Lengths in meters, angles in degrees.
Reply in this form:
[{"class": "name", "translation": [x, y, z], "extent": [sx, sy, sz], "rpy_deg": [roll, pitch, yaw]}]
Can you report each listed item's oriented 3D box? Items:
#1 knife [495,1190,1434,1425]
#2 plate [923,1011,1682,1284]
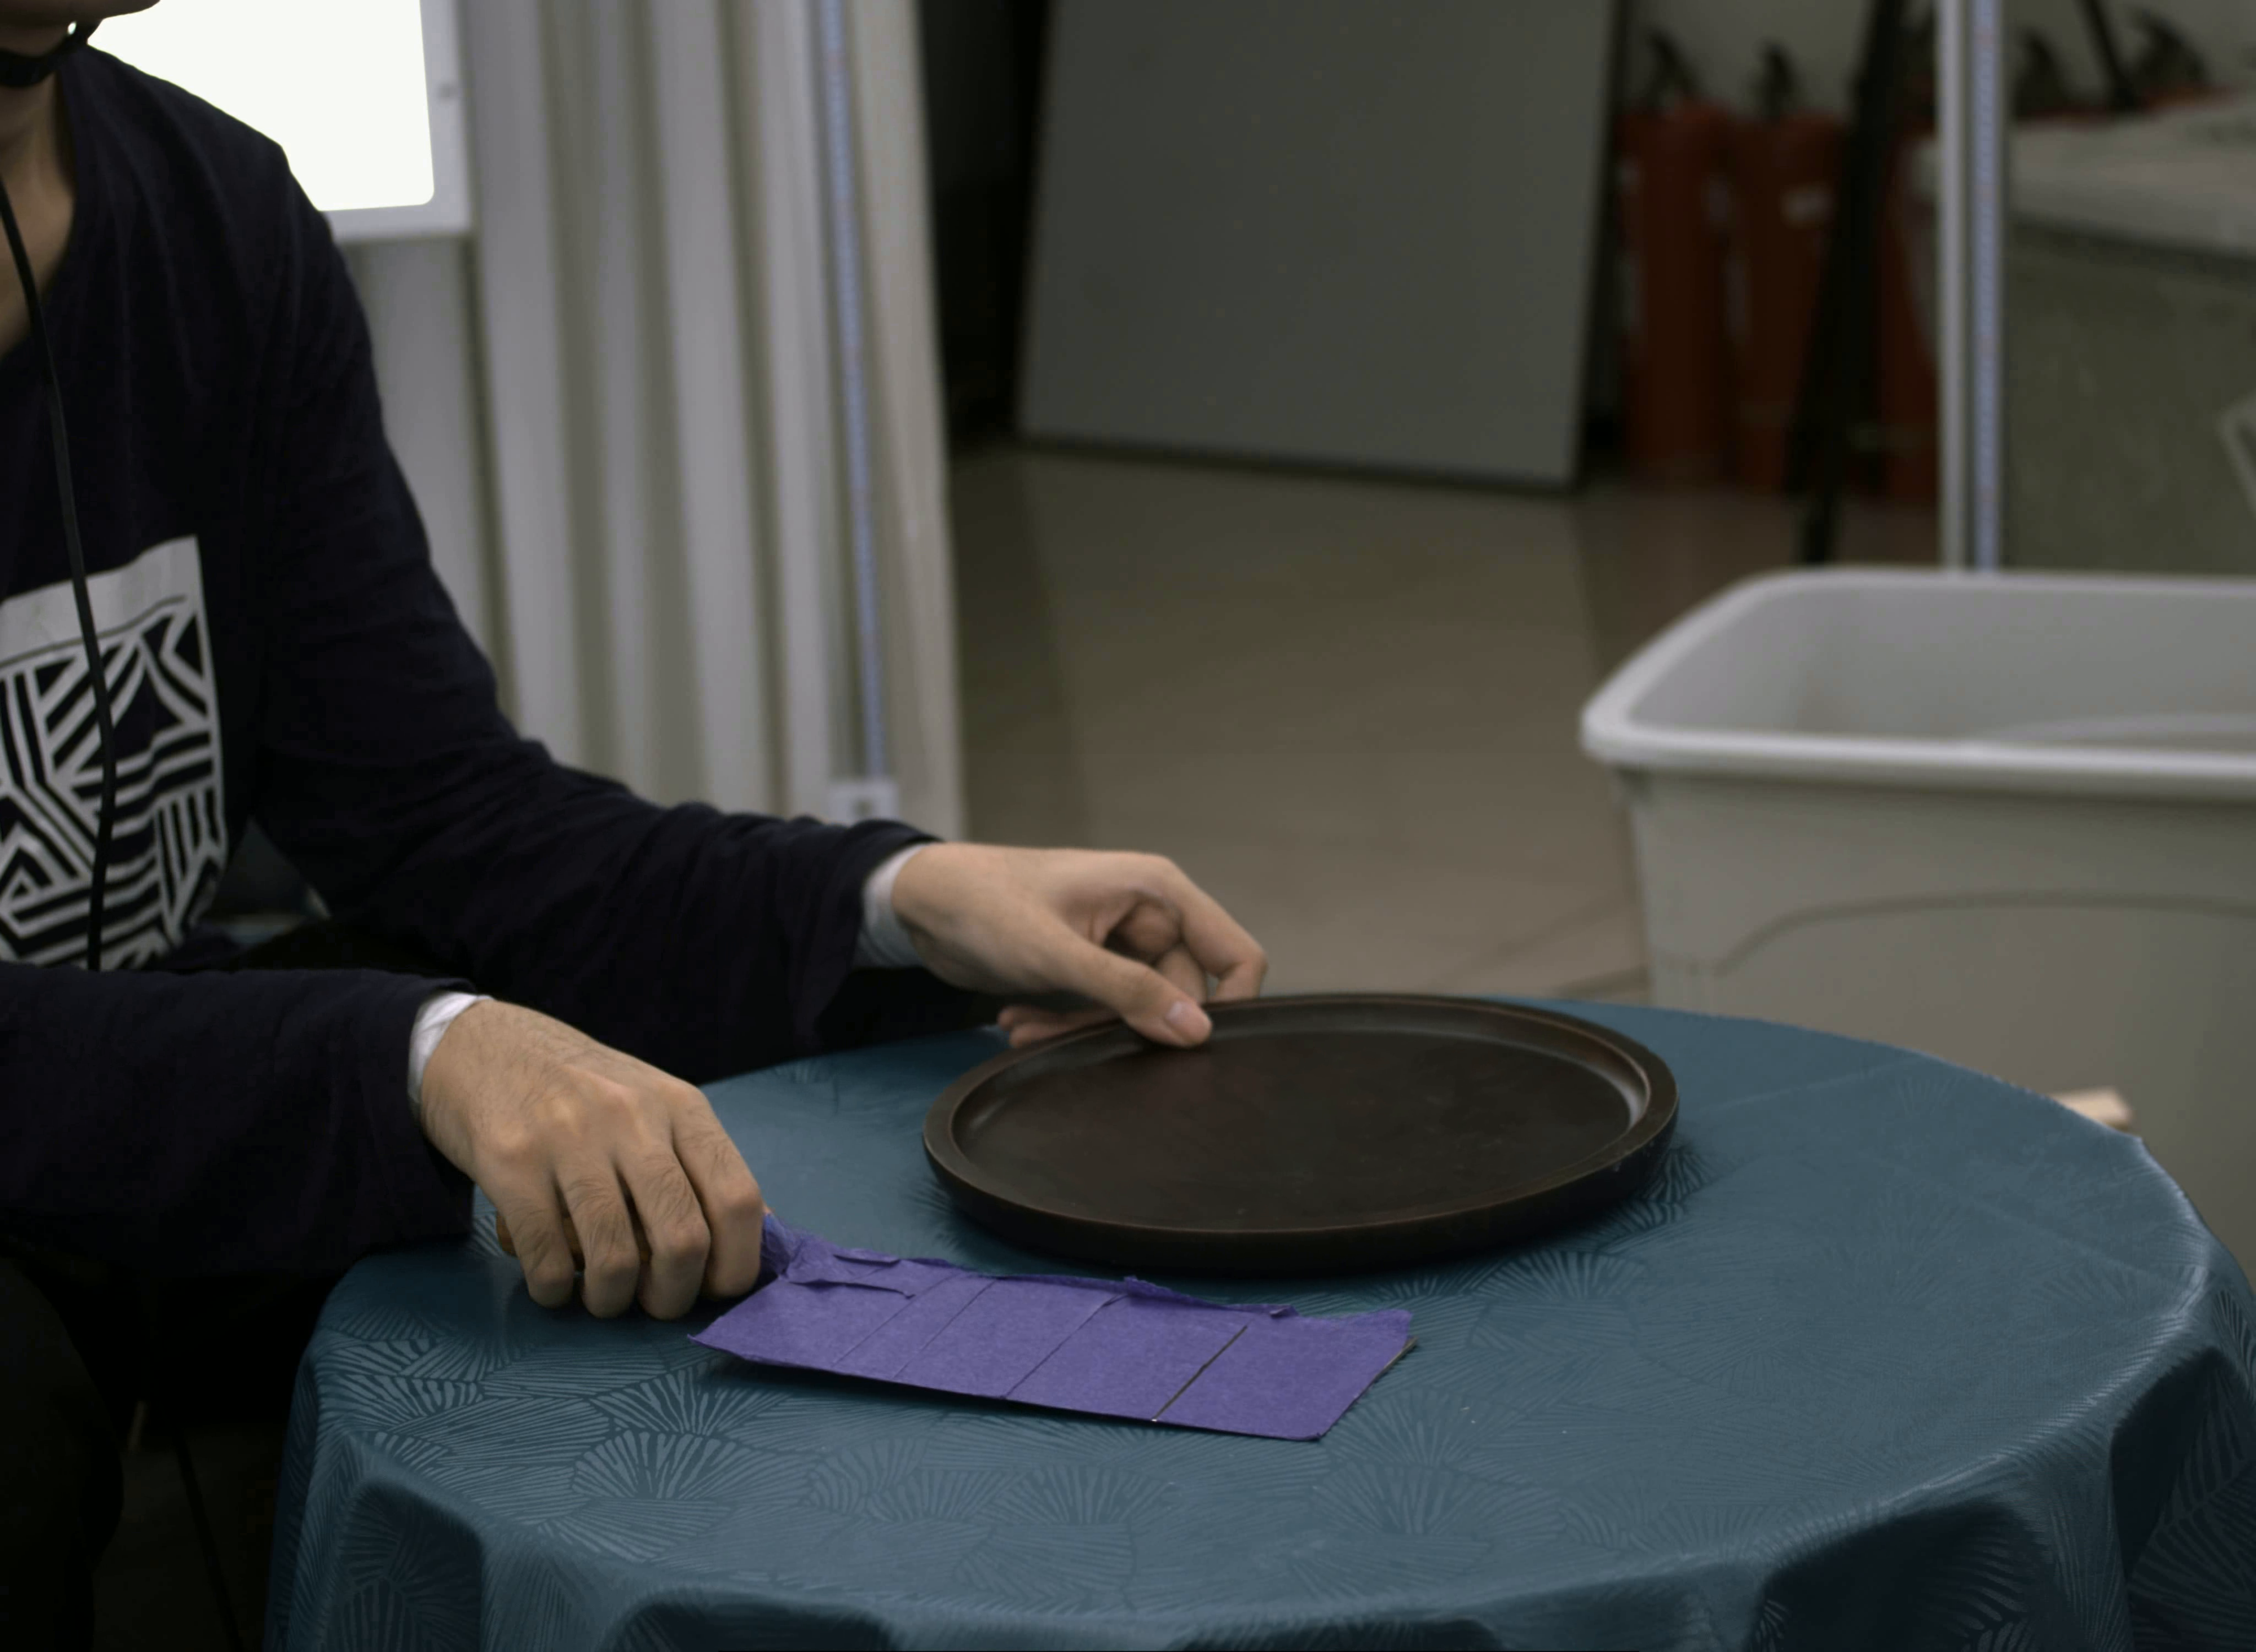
[{"class": "knife", "translation": [-0.067, 0.146, 1.637], "extent": [0.315, 0.032, 0.102], "rpy_deg": [3, 15, 25]}, {"class": "plate", "translation": [0.058, 0.103, 1.780], "extent": [0.251, 0.029, 0.255], "rpy_deg": [-3, 14, 0]}]
